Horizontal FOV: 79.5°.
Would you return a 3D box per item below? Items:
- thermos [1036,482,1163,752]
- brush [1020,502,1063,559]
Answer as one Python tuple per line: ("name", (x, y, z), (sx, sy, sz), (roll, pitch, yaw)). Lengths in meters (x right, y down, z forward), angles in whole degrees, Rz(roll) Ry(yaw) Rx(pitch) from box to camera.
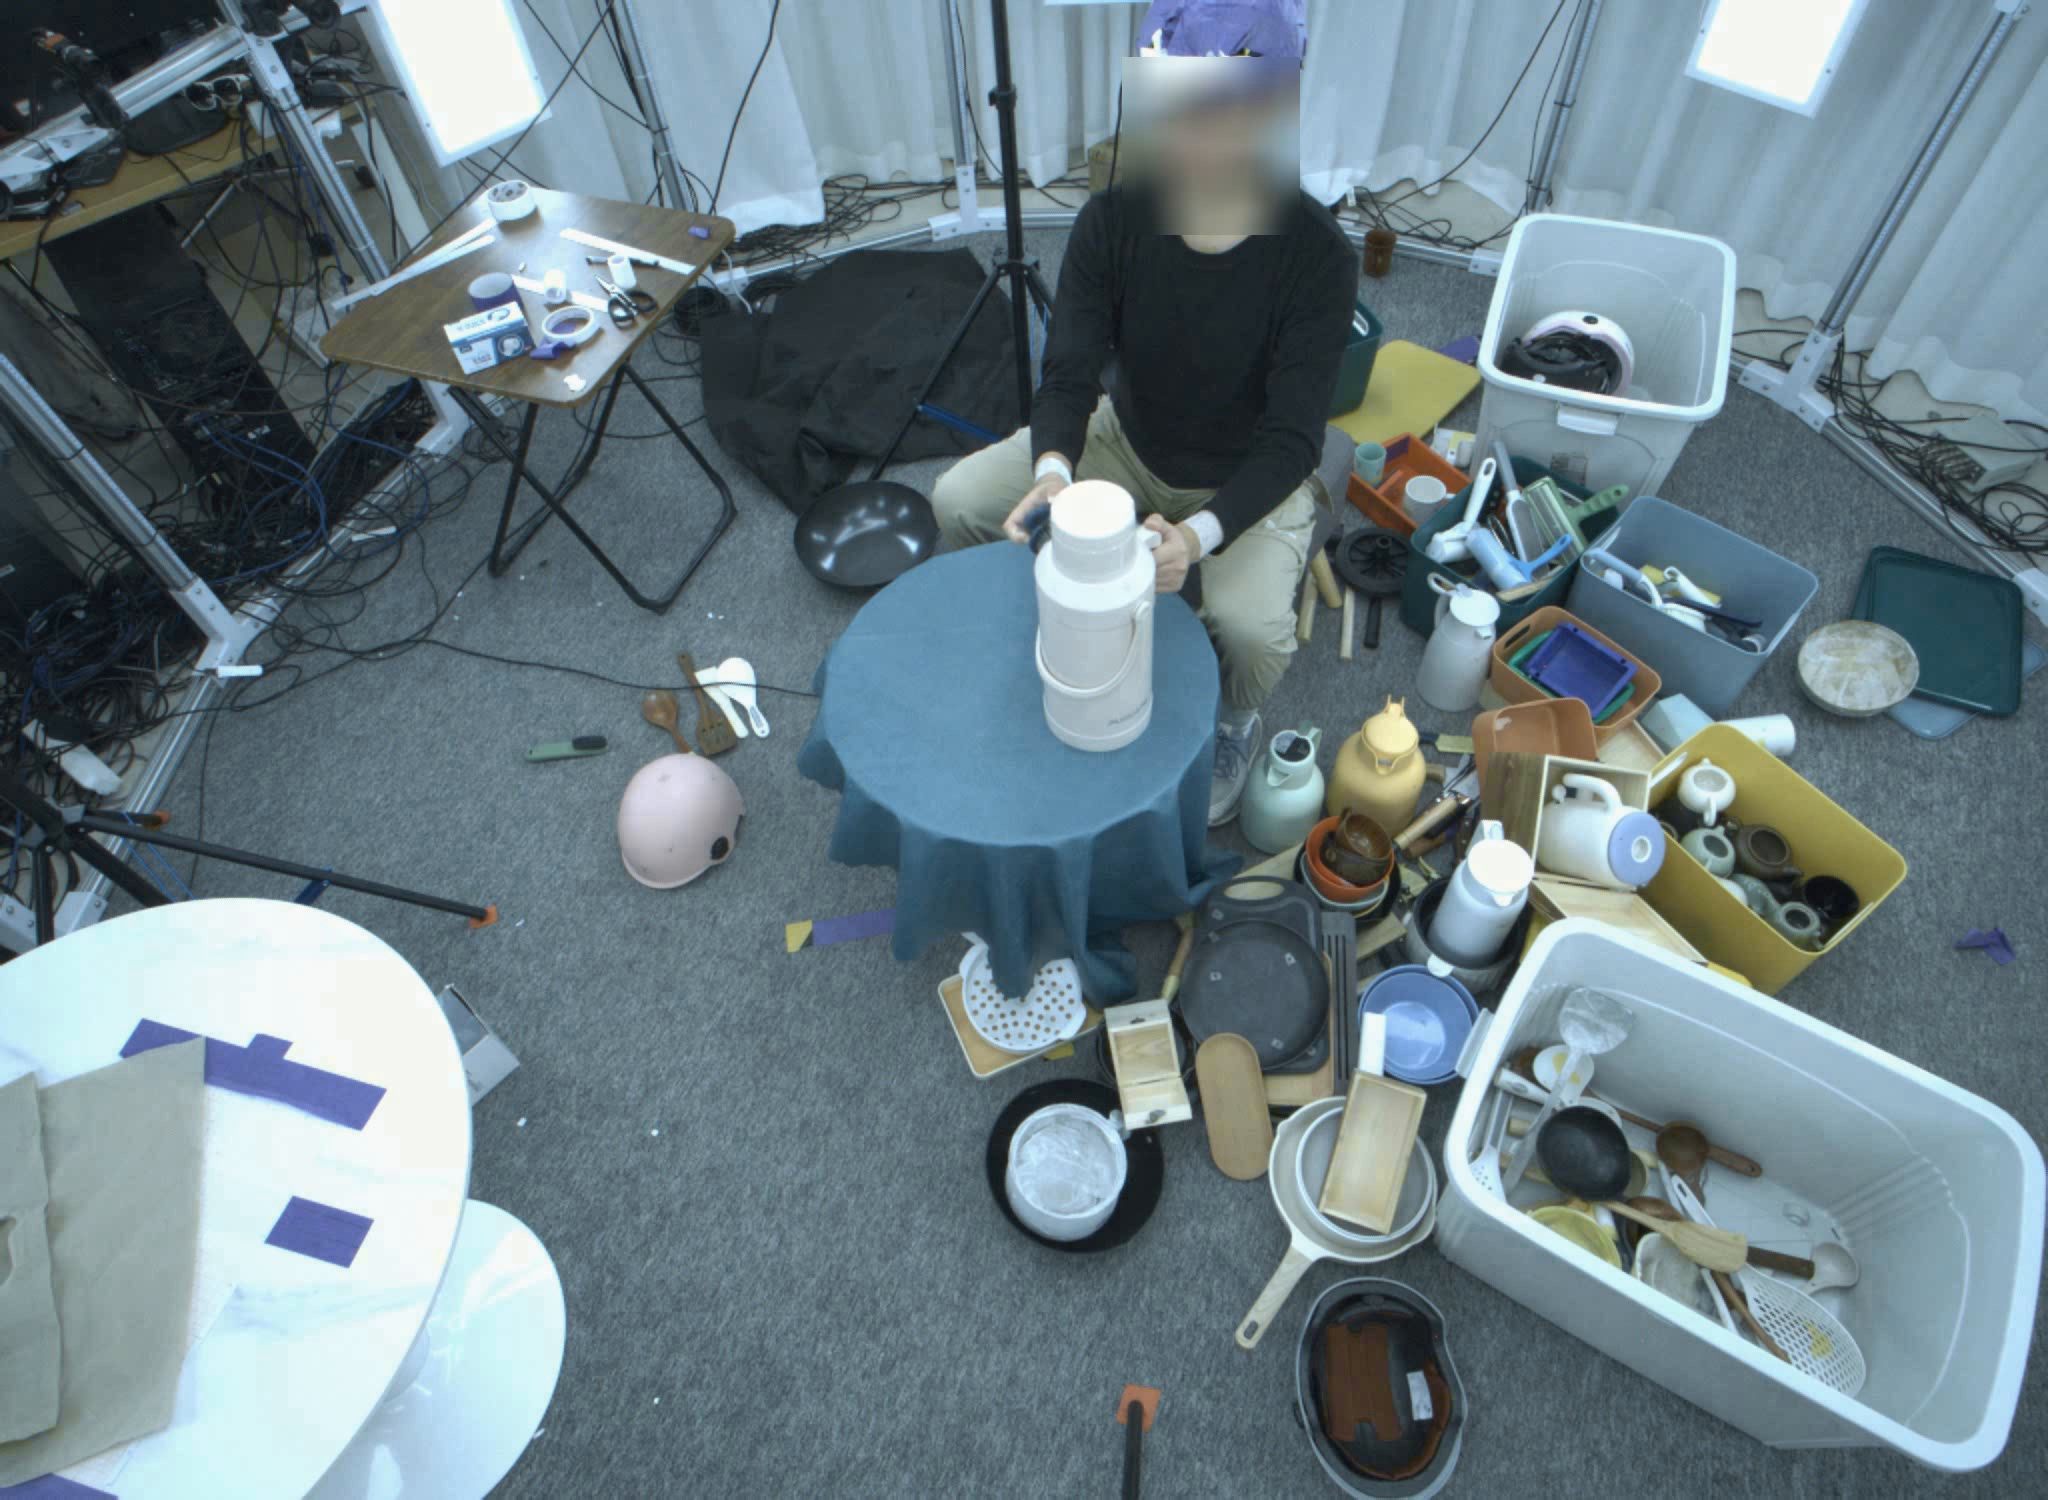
("thermos", (0.110, -0.184, 1.670), (0.172, 0.411, 0.208), (36, 65, 27))
("brush", (0.054, -0.299, 1.674), (0.123, 0.068, 0.060), (-22, 58, -28))
